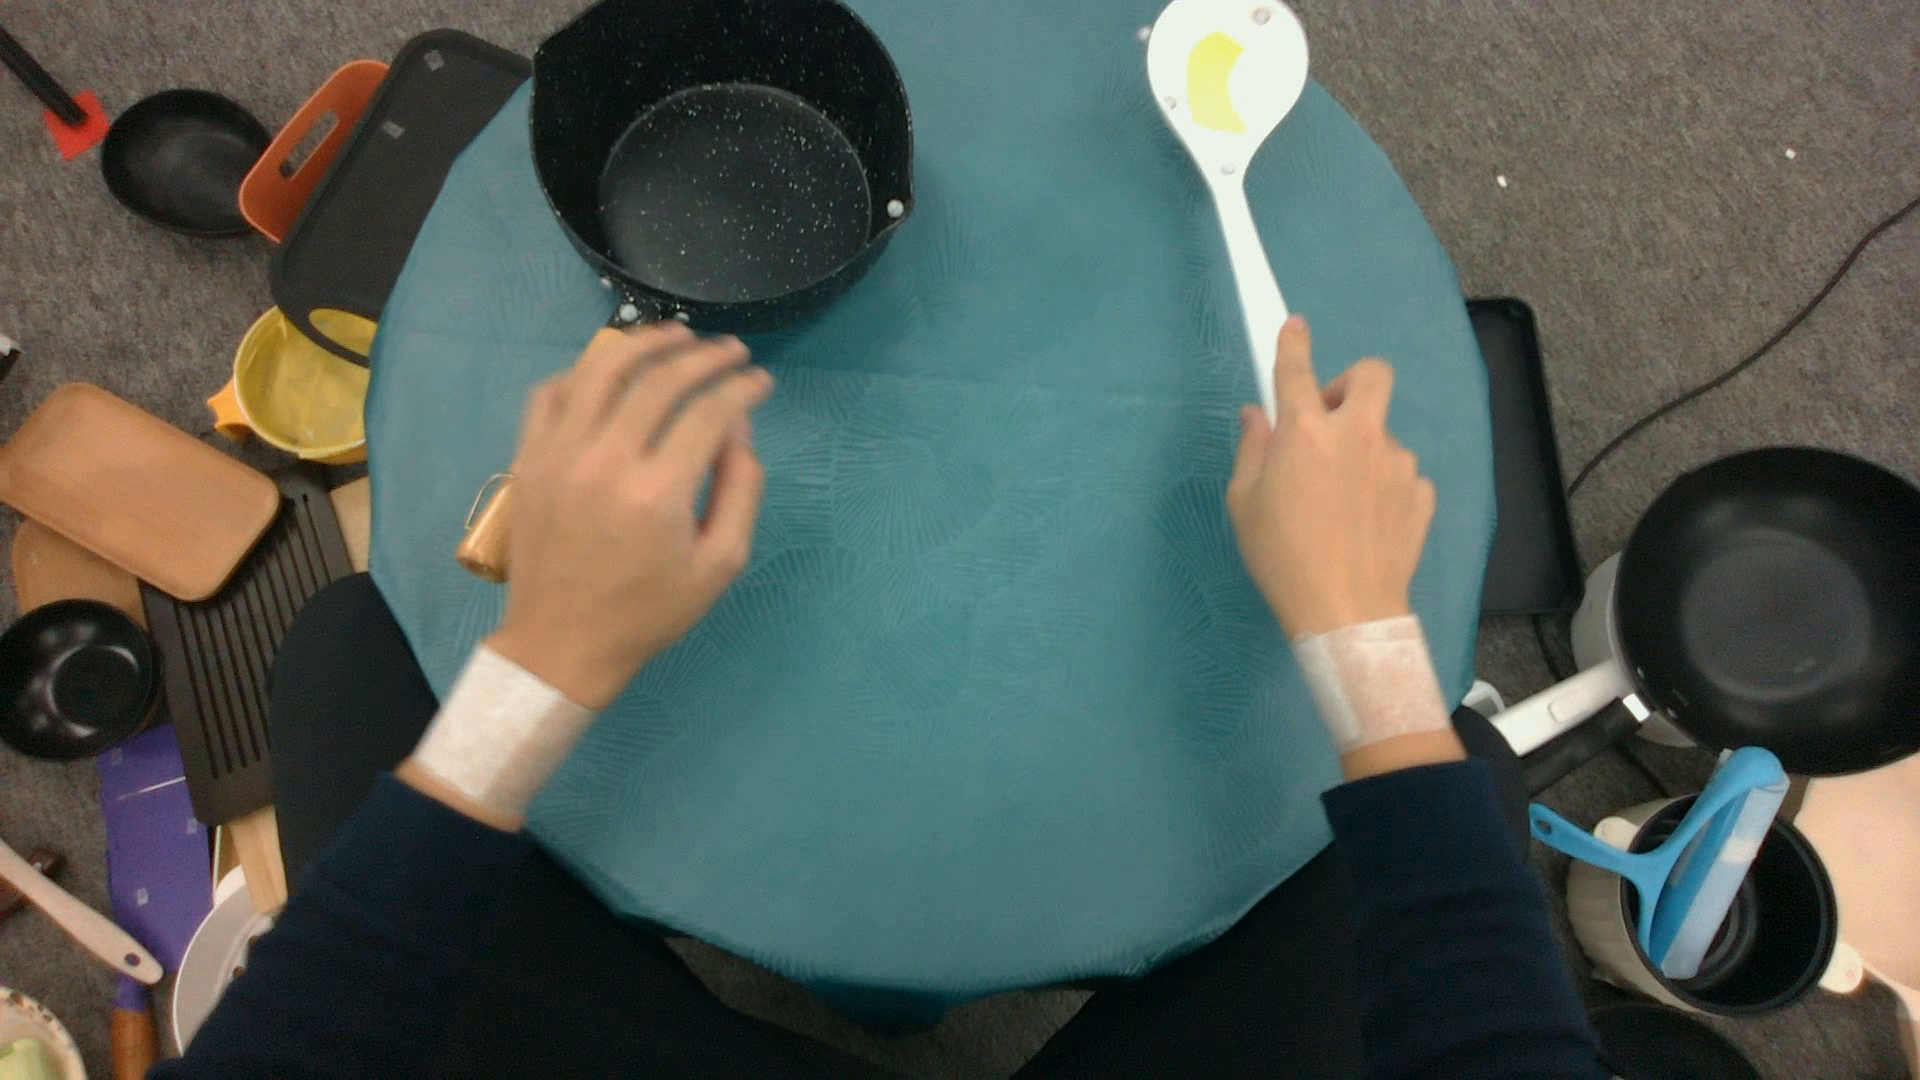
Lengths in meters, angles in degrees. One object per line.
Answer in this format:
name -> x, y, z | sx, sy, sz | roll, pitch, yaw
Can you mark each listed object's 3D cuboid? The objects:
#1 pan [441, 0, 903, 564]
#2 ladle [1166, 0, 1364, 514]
pan -> -0.153, -0.133, 0.679 | 0.207, 0.108, 0.344 | 22, 74, -1
ladle -> 0.162, -0.160, 0.689 | 0.090, 0.069, 0.294 | -1, 66, -13
